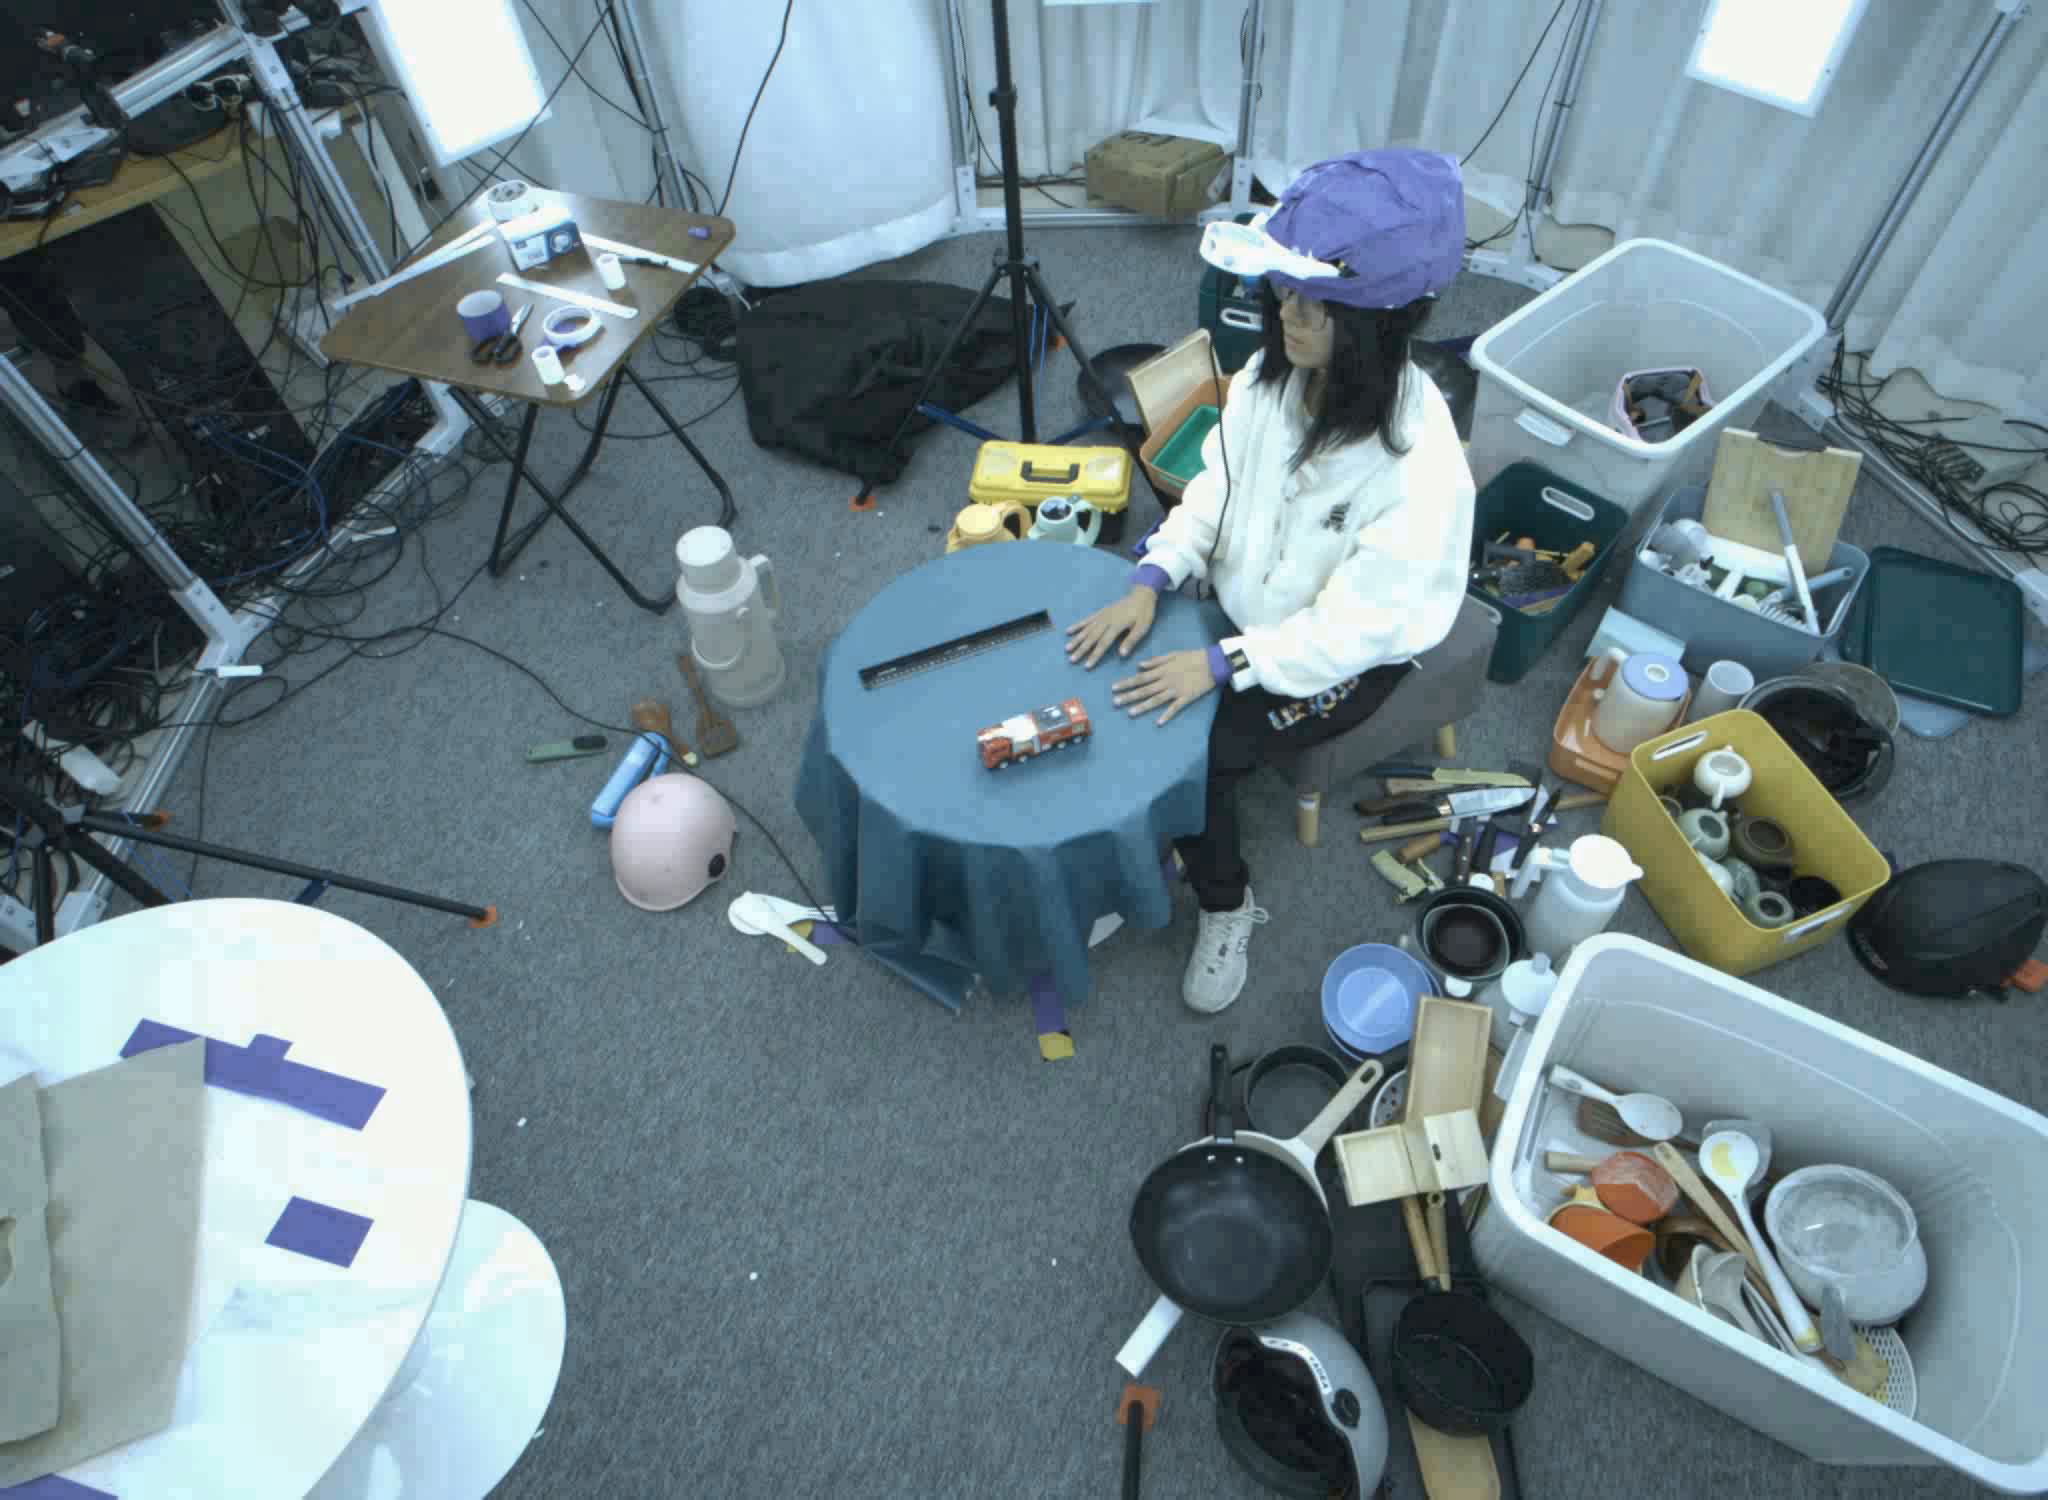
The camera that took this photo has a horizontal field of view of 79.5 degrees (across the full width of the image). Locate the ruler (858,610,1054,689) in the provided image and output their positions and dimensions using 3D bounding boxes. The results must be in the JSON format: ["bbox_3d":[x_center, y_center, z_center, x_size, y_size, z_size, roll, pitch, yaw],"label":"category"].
[{"bbox_3d":[-0.105,-0.158,1.893,0.315,0.017,0.038,-18,60,-11],"label":"ruler"}]

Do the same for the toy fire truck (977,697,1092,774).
[{"bbox_3d":[0.013,-0.022,1.767,0.169,0.071,0.053,-18,55,-12],"label":"toy fire truck"}]
